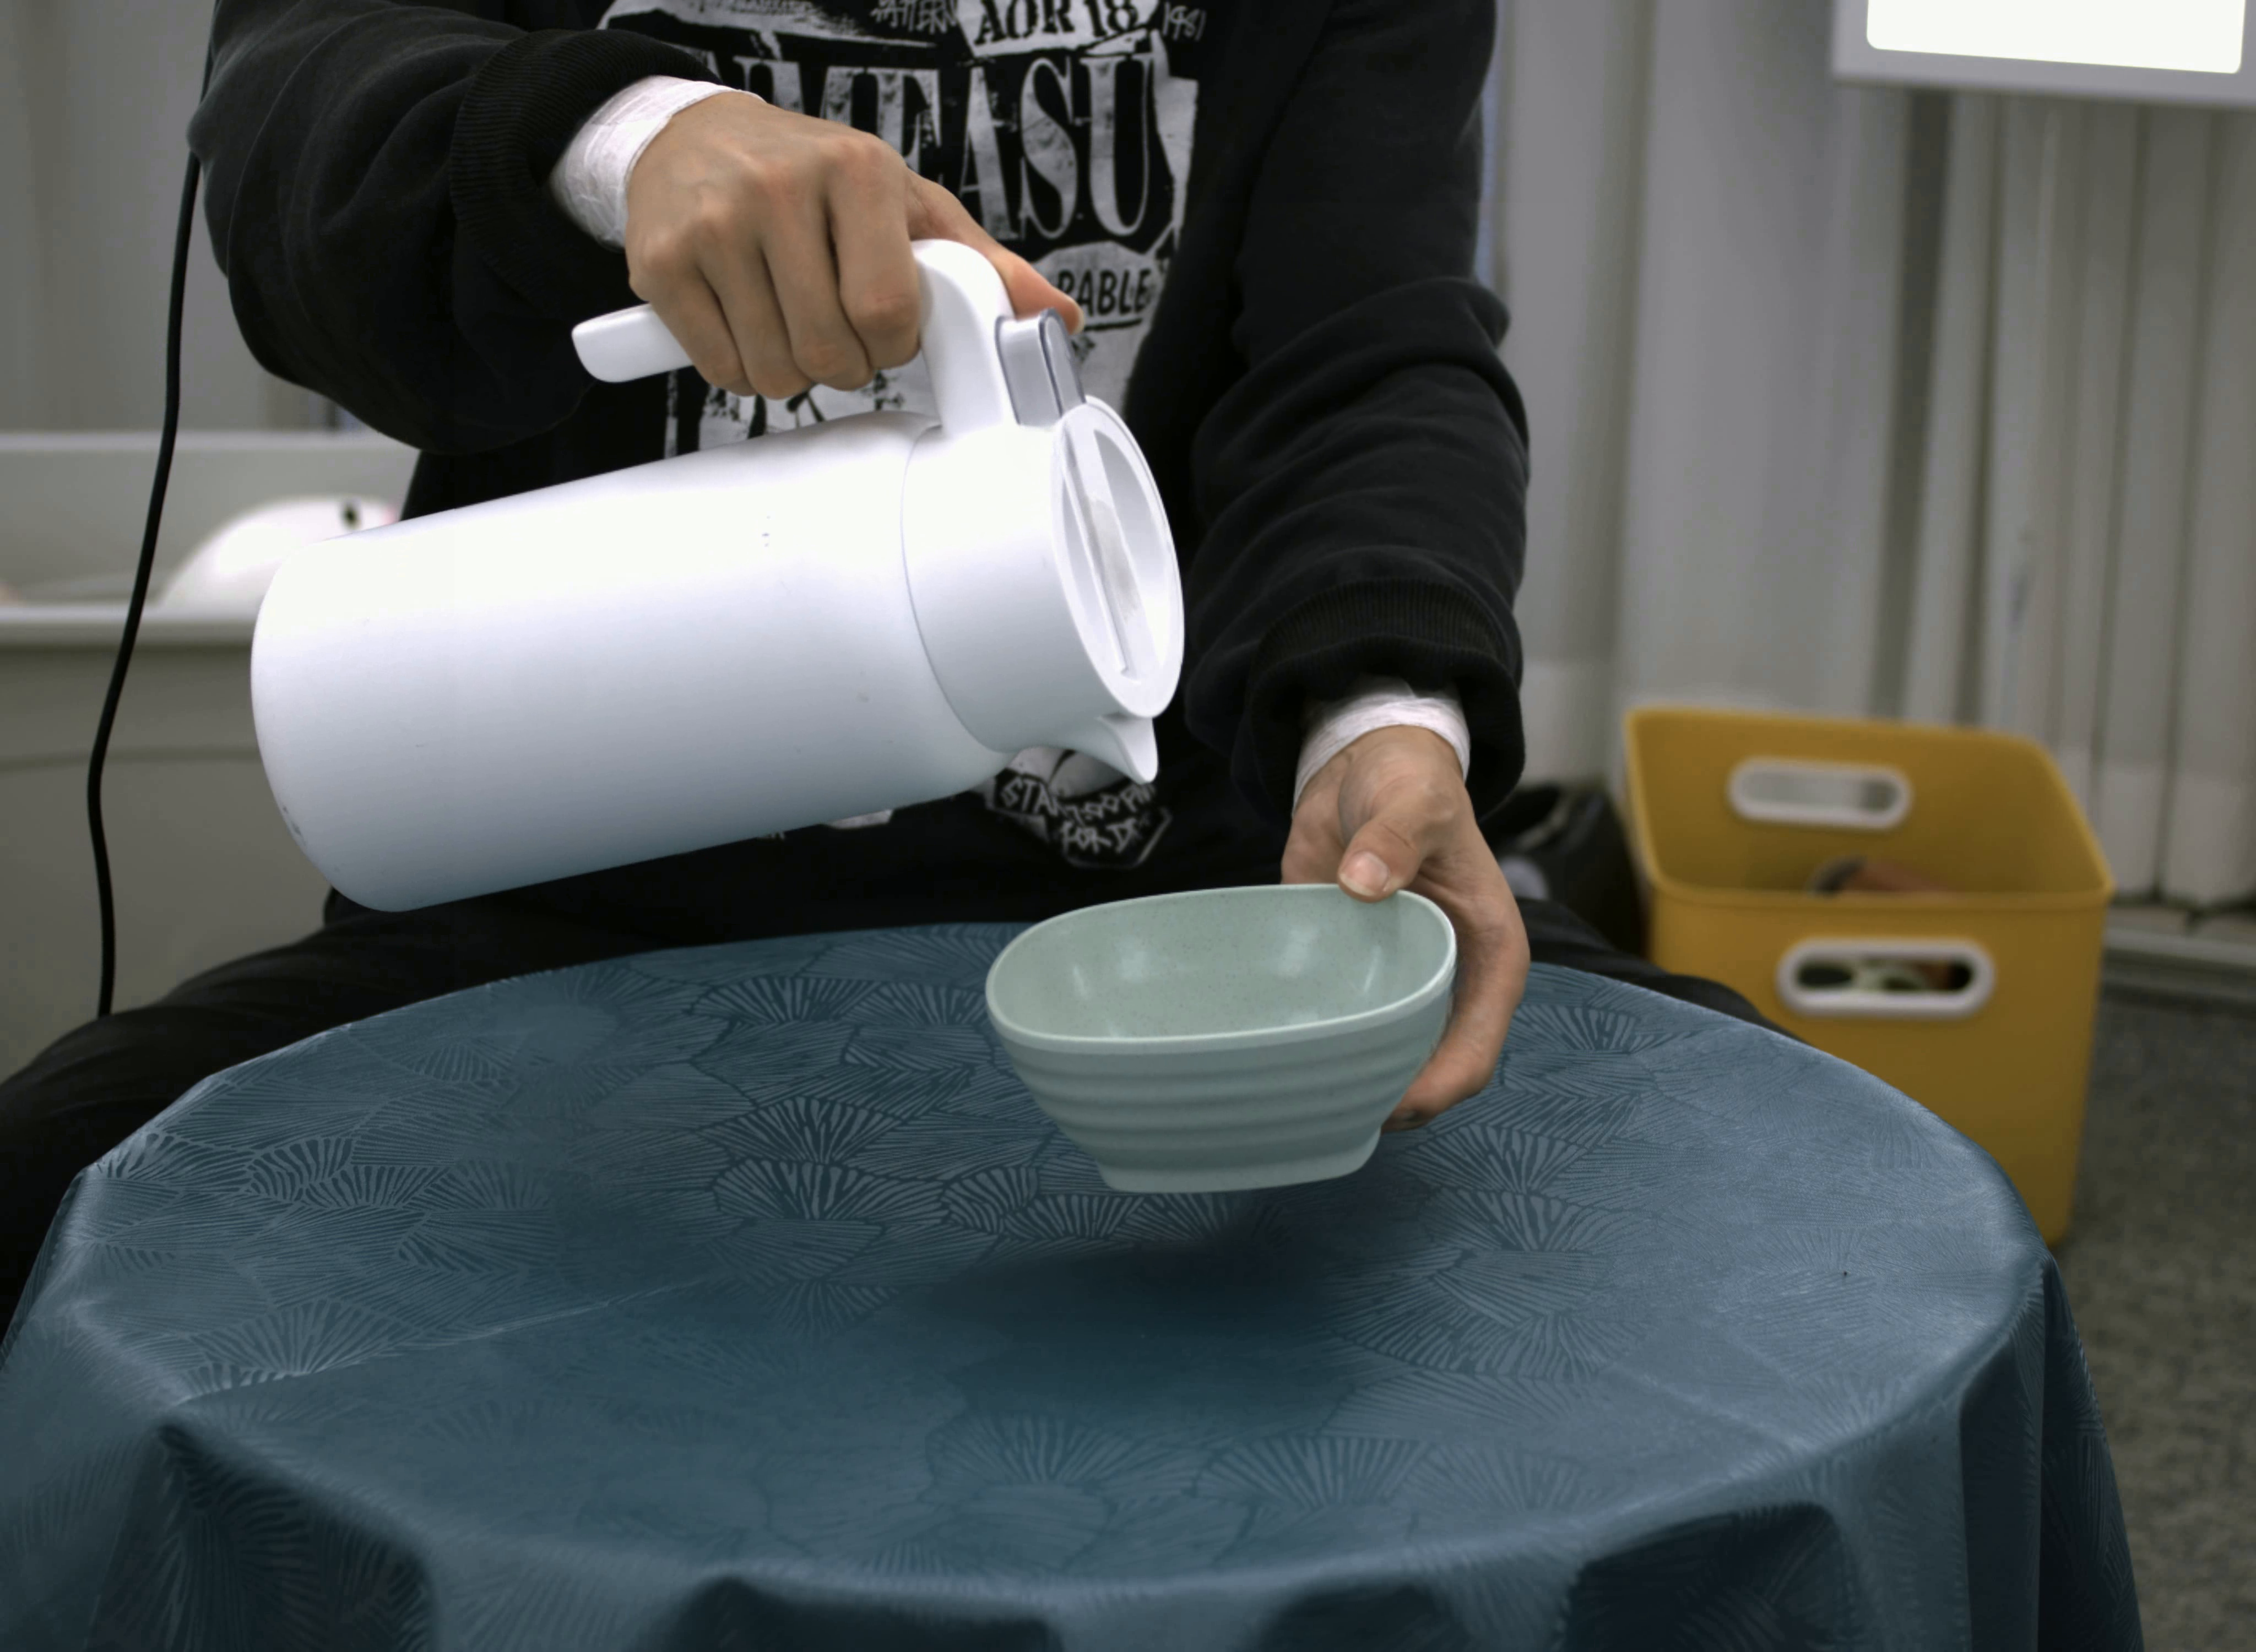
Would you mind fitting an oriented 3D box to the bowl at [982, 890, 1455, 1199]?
[{"bbox_3d":[0.029,0.067,1.545,0.151,0.059,0.150,-5,17,2],"label":"bowl"}]

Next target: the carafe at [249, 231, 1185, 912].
[{"bbox_3d":[-0.128,-0.071,1.568,0.267,0.174,0.124,-12,14,22],"label":"carafe"}]
